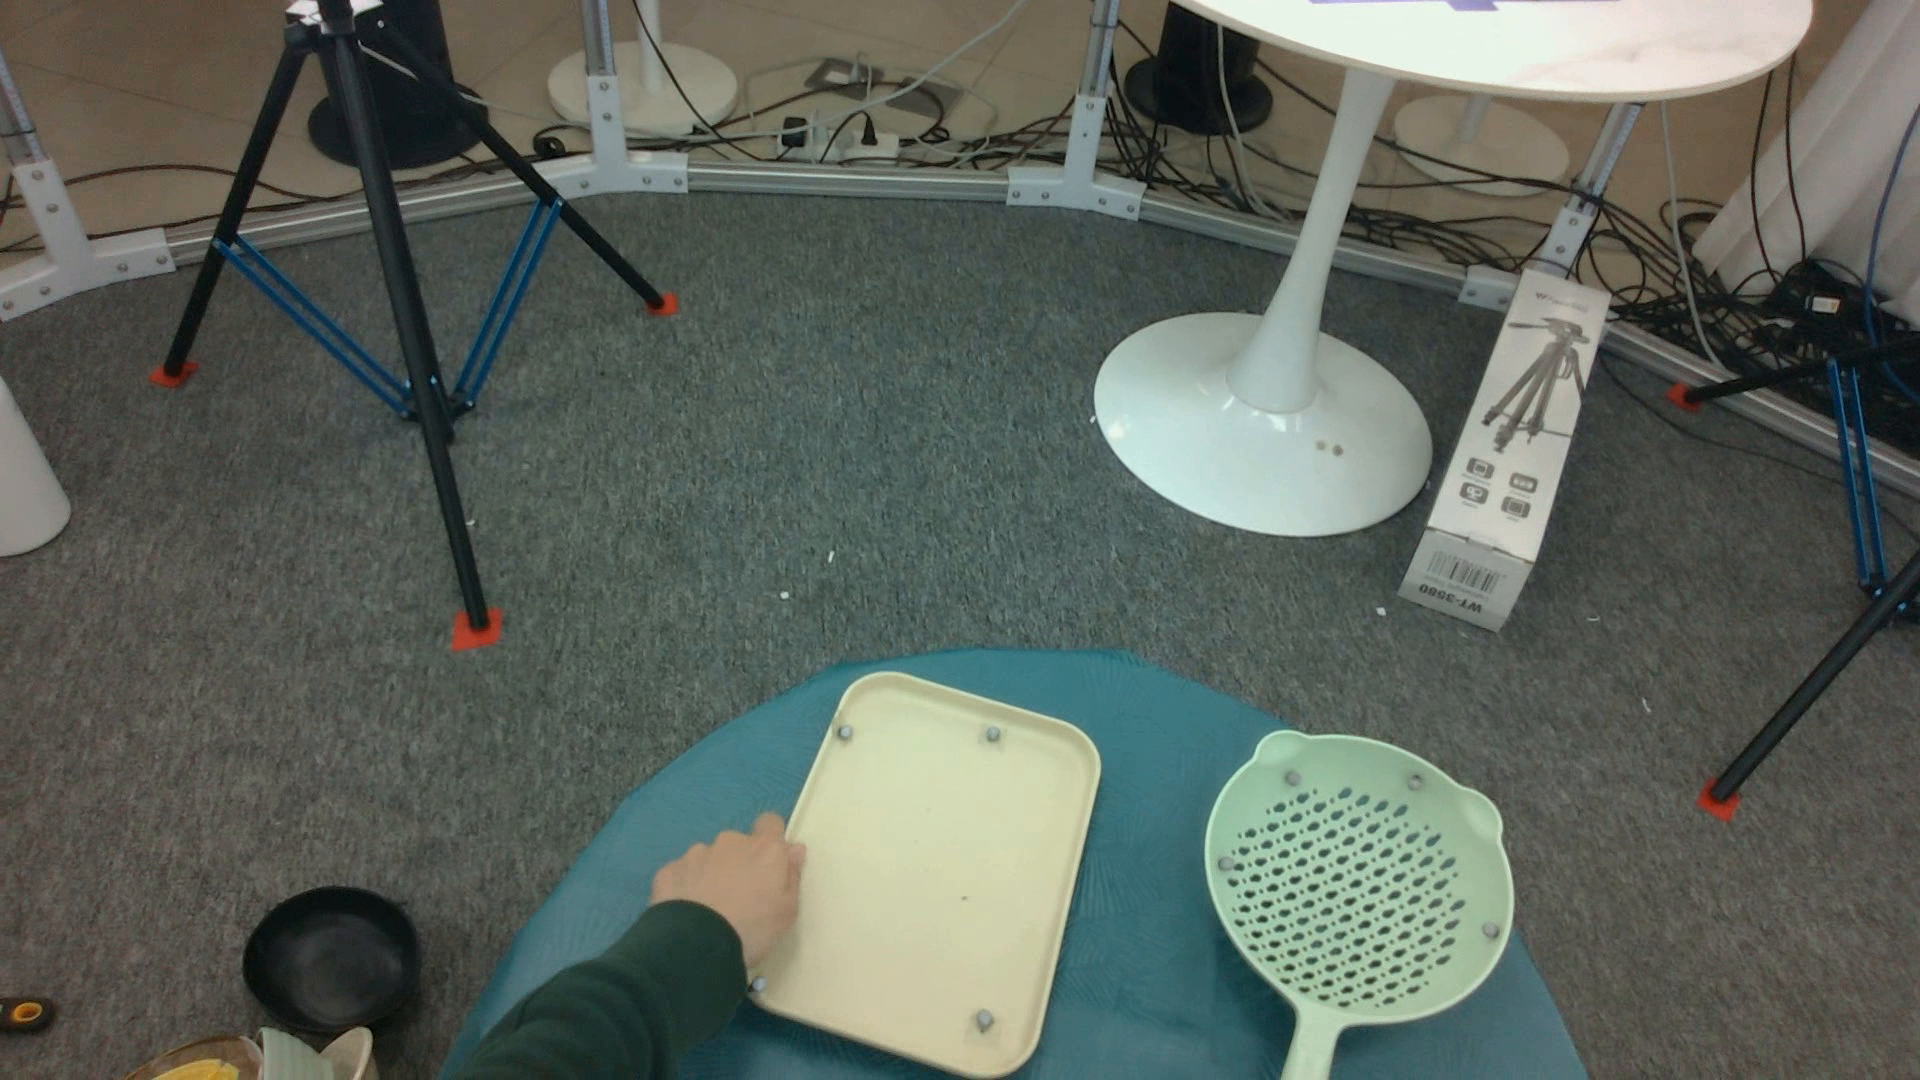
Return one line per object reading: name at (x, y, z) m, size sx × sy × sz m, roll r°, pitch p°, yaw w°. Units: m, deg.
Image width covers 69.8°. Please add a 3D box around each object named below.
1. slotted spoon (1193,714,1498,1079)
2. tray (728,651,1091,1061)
slotted spoon at (0.180, 0.255, 0.731) m, size 0.169 × 0.075 × 0.361 m, roll 17°, pitch 47°, yaw 15°
tray at (-0.022, 0.175, 0.803) m, size 0.171 × 0.017 × 0.241 m, roll 17°, pitch 46°, yaw 3°
